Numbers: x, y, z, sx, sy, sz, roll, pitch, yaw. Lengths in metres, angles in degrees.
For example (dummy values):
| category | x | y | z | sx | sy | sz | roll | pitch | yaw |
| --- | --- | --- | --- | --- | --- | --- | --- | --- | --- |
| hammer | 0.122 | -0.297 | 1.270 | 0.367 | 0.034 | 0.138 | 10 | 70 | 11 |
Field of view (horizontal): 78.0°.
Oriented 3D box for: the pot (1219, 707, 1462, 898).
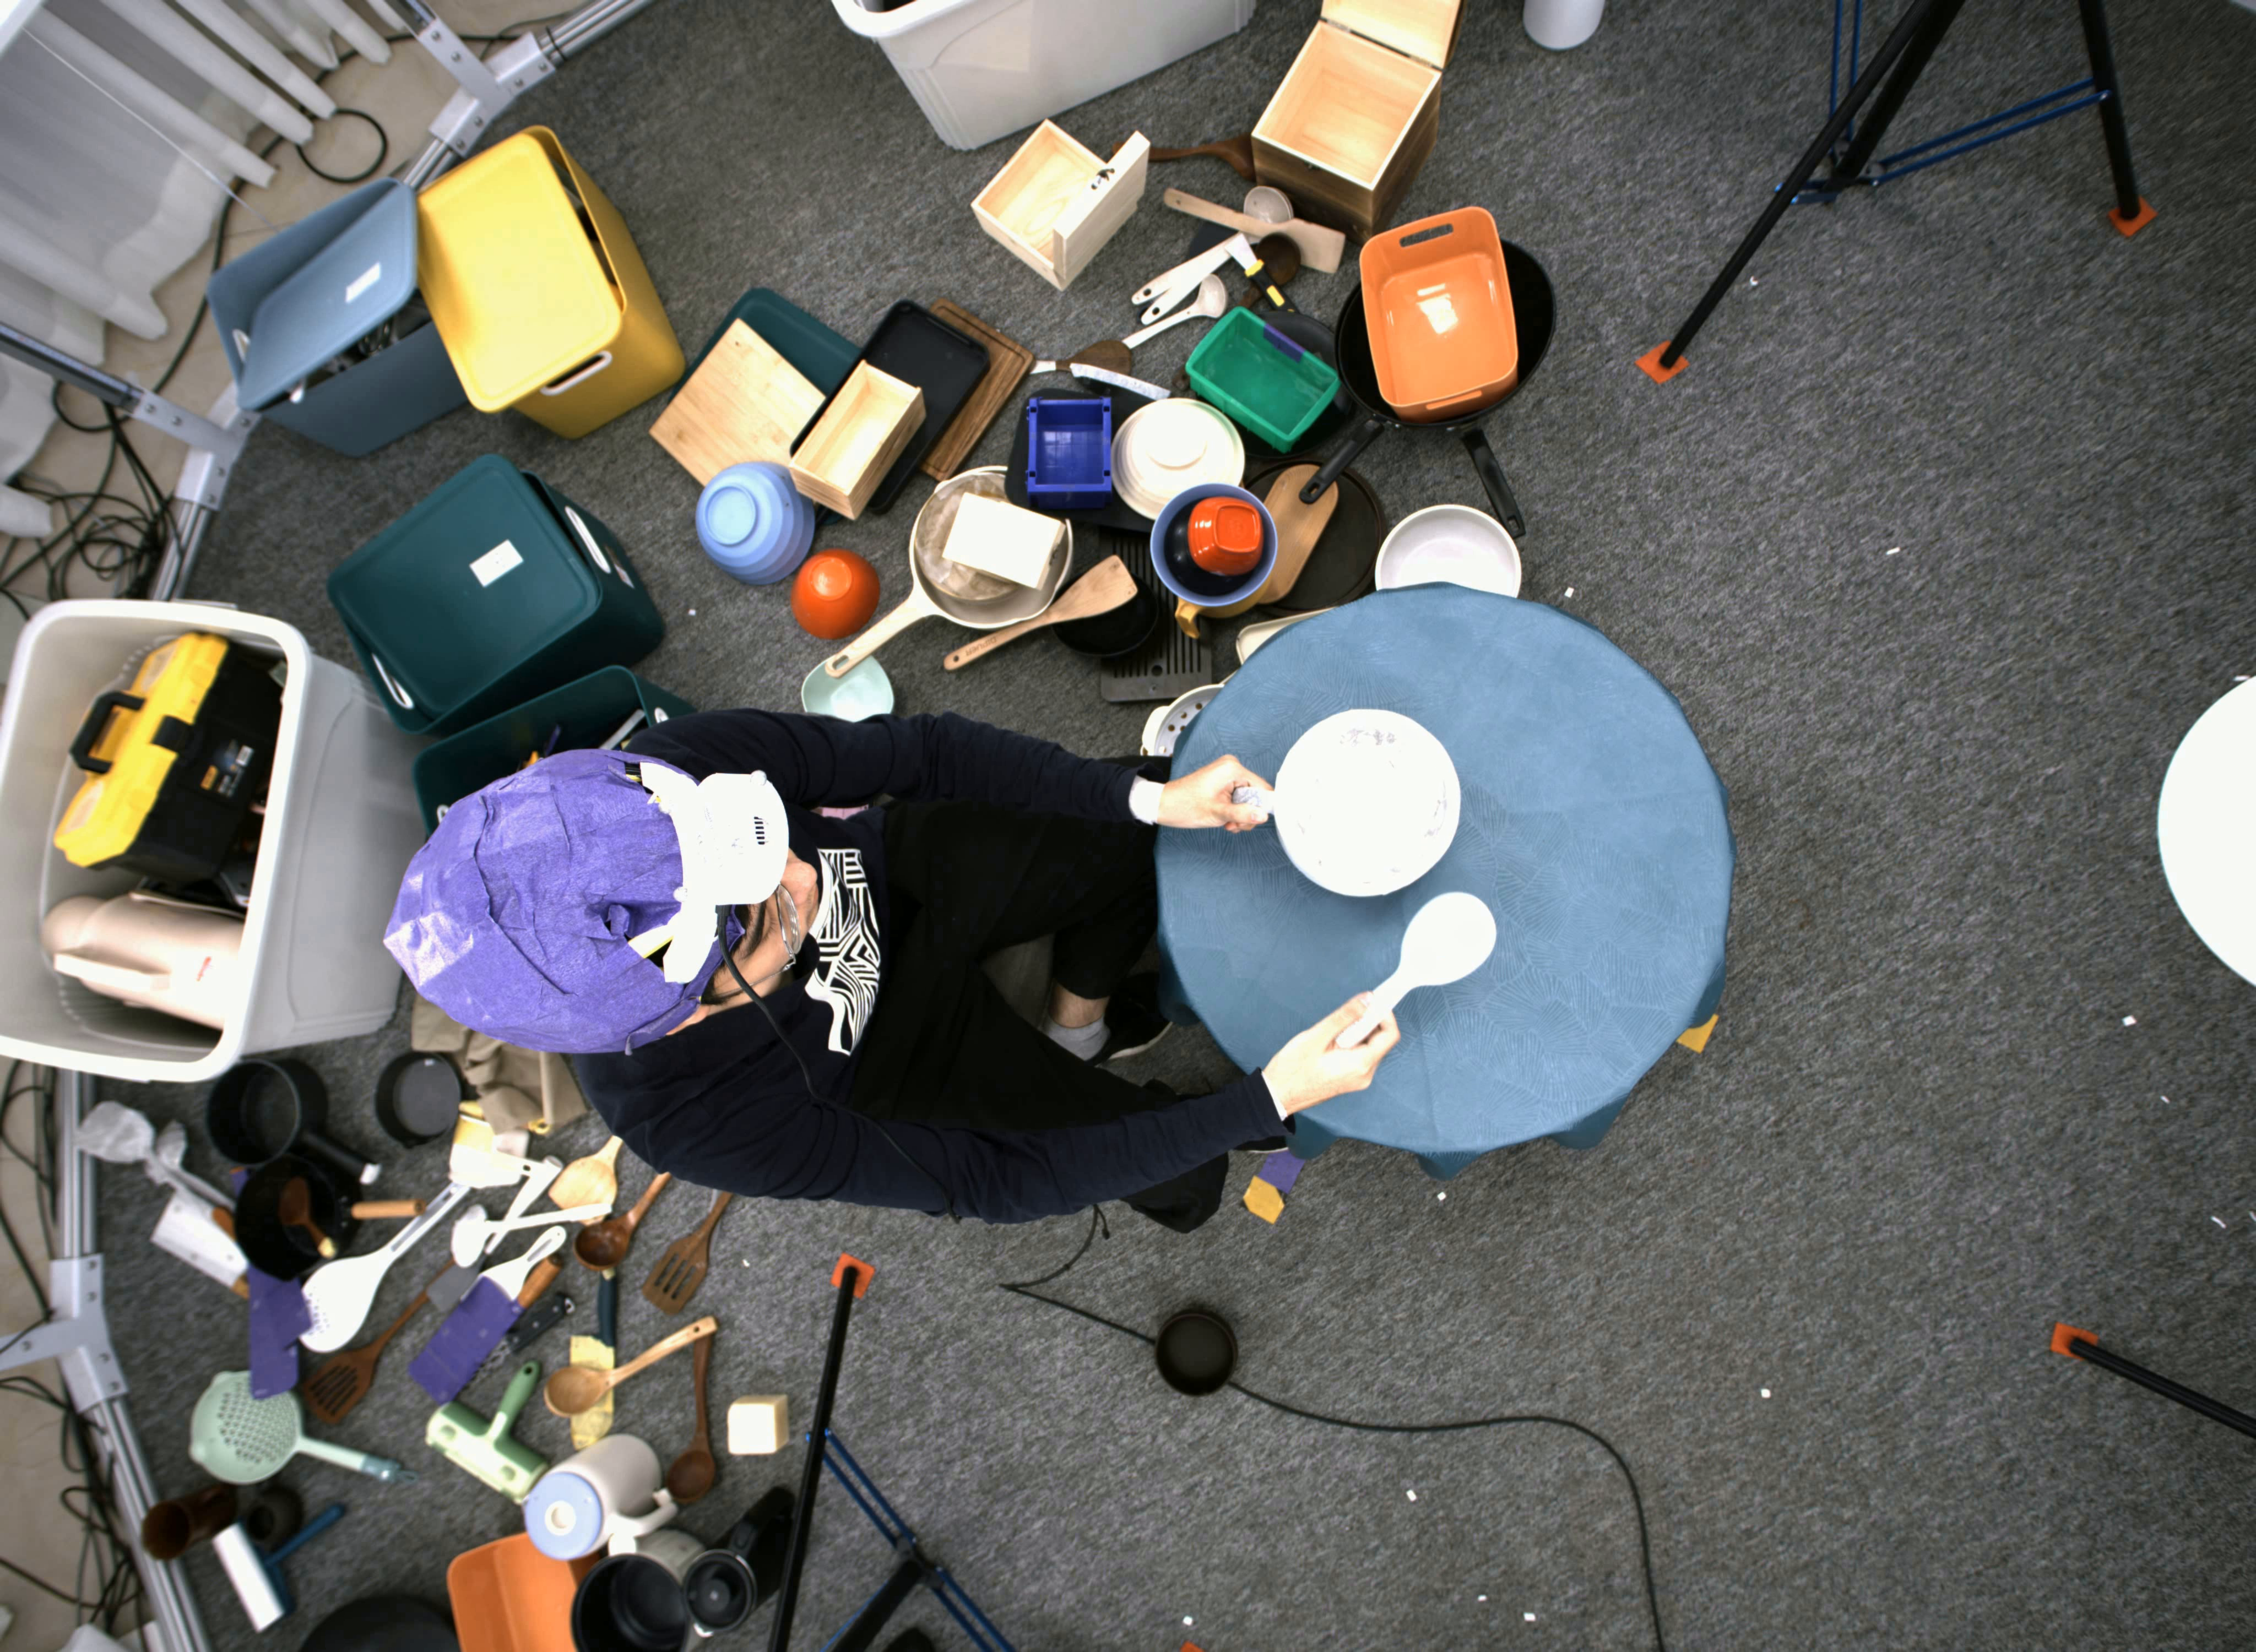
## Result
| category | x | y | z | sx | sy | sz | roll | pitch | yaw |
| --- | --- | --- | --- | --- | --- | --- | --- | --- | --- |
| pot | 0.207 | -0.020 | 1.381 | 0.234 | 0.137 | 0.177 | 0 | 84 | 6 |

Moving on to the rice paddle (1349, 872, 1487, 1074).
| category | x | y | z | sx | sy | sz | roll | pitch | yaw |
| --- | --- | --- | --- | --- | --- | --- | --- | --- | --- |
| rice paddle | 0.268 | 0.132 | 1.282 | 0.068 | 0.029 | 0.205 | 29 | 89 | 20 |
